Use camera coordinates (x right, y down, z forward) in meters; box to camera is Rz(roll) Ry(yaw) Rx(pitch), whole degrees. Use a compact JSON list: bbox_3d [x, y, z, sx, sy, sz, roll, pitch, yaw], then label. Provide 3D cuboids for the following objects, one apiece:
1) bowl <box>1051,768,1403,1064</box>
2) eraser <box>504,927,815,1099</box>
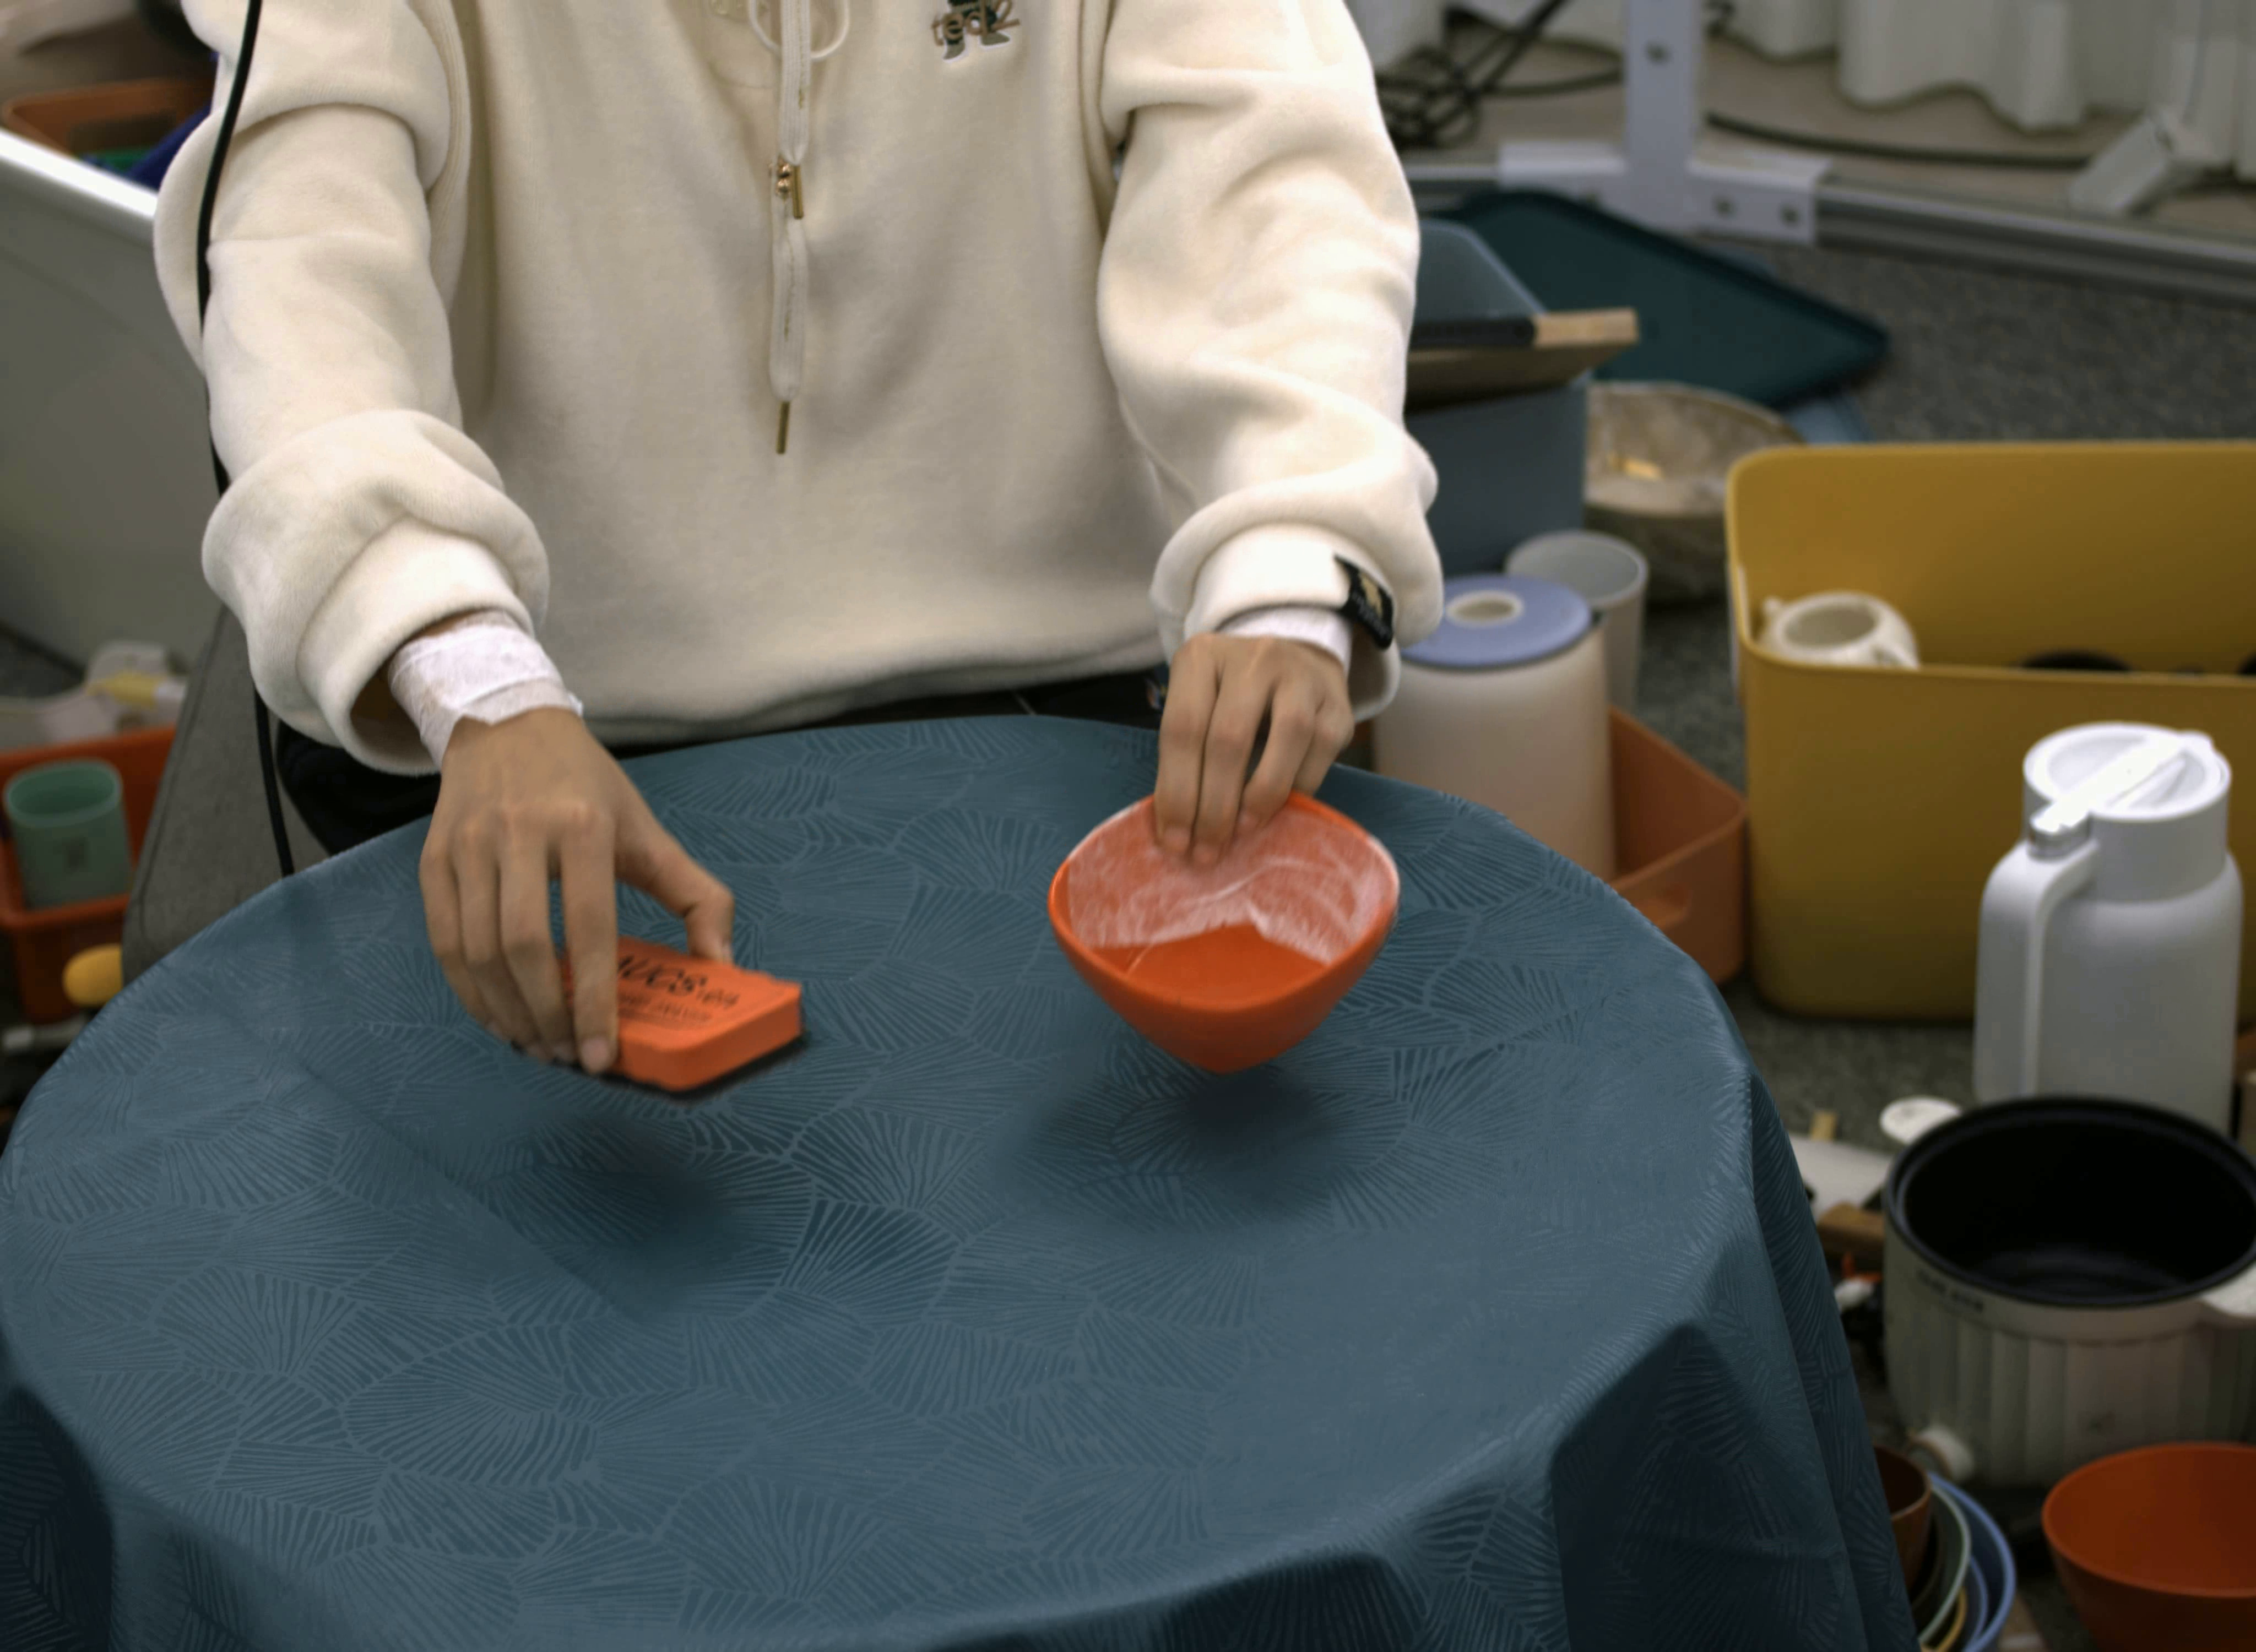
[{"bbox_3d":[0.035,0.036,1.897,0.118,0.050,0.121,-3,39,3],"label":"bowl"},{"bbox_3d":[-0.156,0.062,1.866,0.059,0.023,0.107,-28,26,-35],"label":"eraser"}]
